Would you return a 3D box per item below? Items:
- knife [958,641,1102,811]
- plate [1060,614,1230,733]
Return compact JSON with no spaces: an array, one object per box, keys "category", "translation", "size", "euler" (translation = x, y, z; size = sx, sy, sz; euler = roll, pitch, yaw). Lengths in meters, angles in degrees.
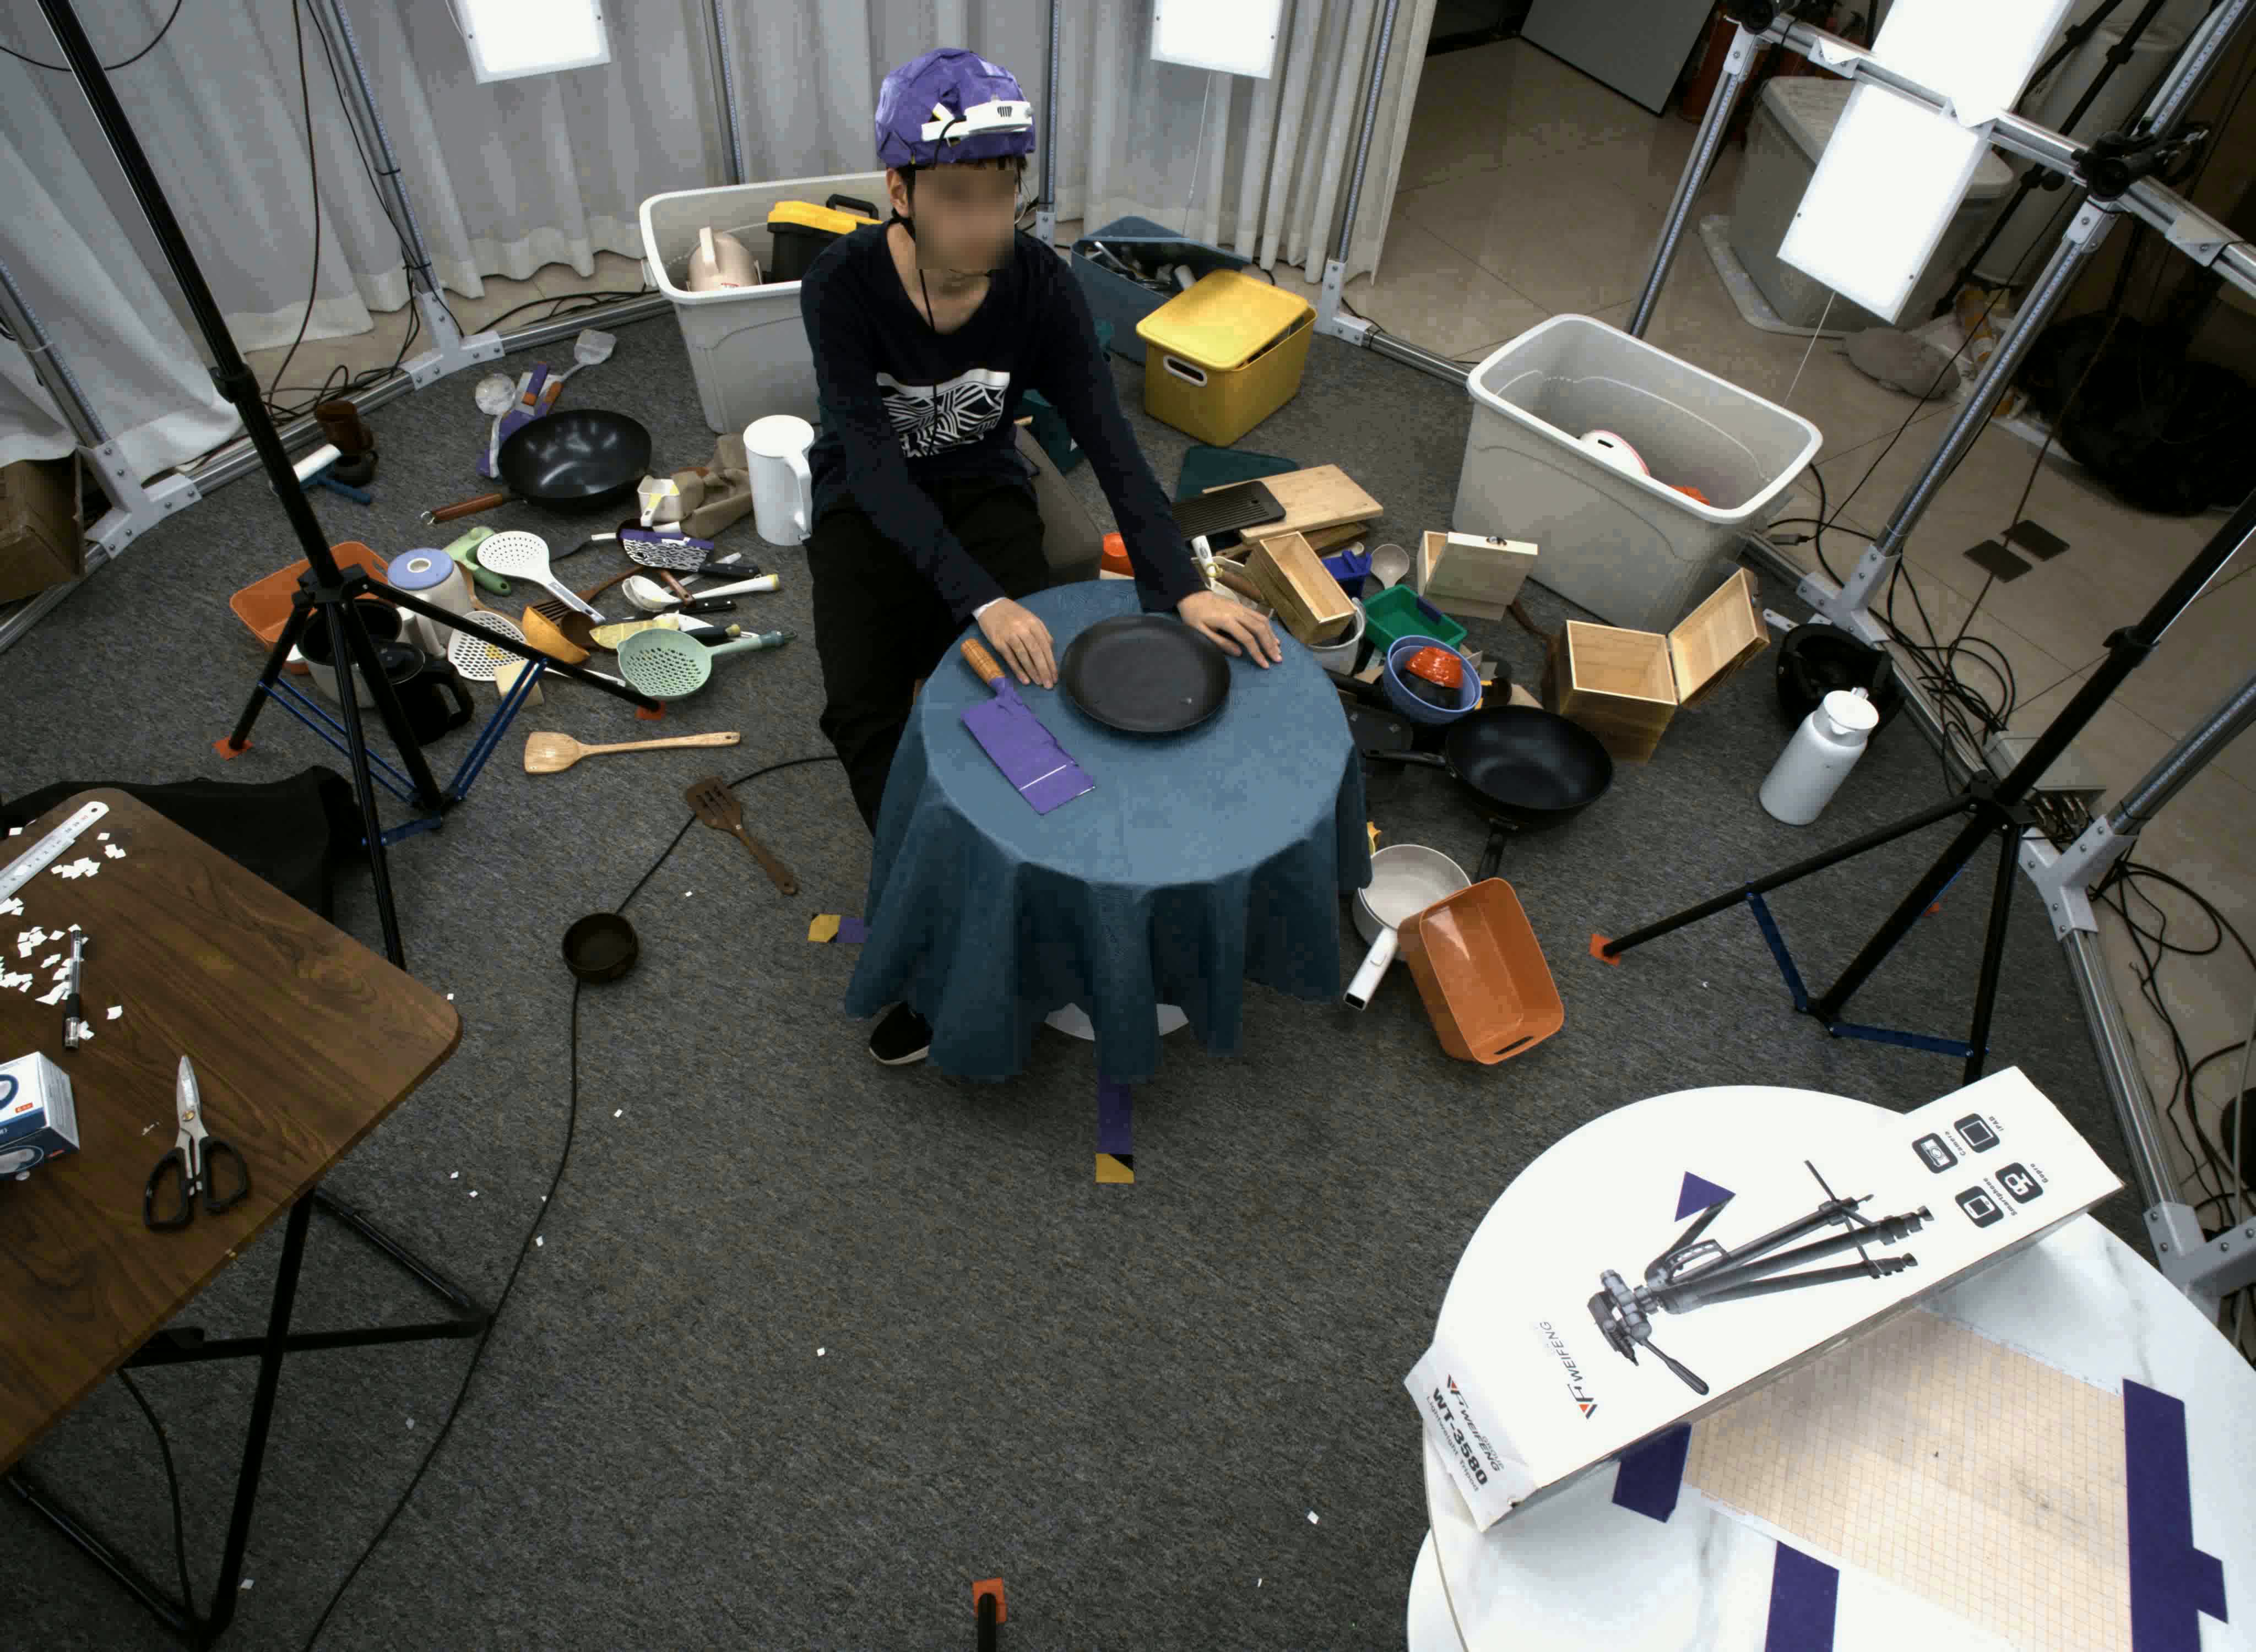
[{"category":"knife","translation":[-0.165,-0.141,1.761],"size":[0.104,0.031,0.321],"euler":[-26,56,-24]},{"category":"plate","translation":[0.024,-0.217,1.842],"size":[0.244,0.023,0.250],"euler":[2,49,-2]}]
